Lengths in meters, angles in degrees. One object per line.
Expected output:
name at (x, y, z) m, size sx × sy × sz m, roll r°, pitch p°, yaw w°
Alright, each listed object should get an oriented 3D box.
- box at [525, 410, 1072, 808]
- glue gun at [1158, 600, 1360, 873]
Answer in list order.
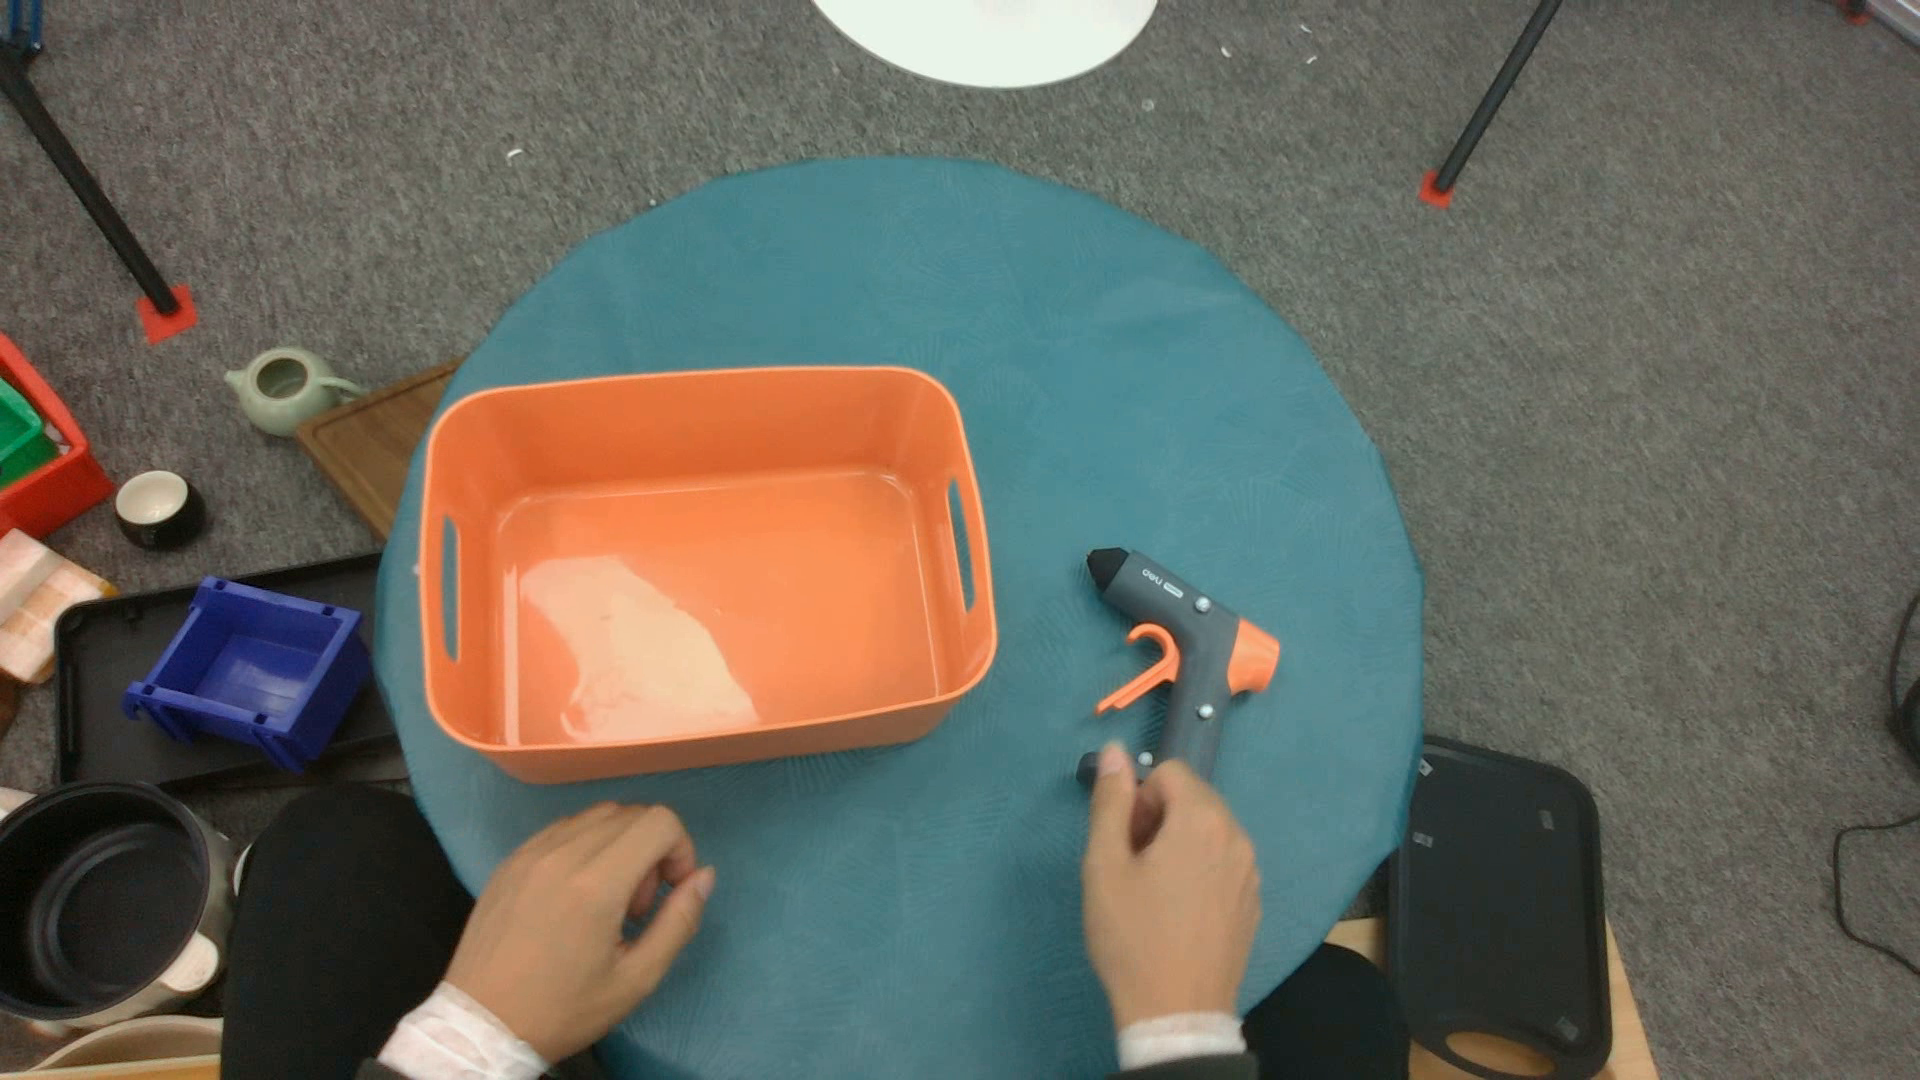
box at (-0.085, 0.042, 0.743) m, size 0.273 × 0.102 × 0.200 m, roll -3°, pitch 63°, yaw -7°
glue gun at (0.157, 0.106, 0.773) m, size 0.118 × 0.041 × 0.140 m, roll 18°, pitch 60°, yaw 6°
